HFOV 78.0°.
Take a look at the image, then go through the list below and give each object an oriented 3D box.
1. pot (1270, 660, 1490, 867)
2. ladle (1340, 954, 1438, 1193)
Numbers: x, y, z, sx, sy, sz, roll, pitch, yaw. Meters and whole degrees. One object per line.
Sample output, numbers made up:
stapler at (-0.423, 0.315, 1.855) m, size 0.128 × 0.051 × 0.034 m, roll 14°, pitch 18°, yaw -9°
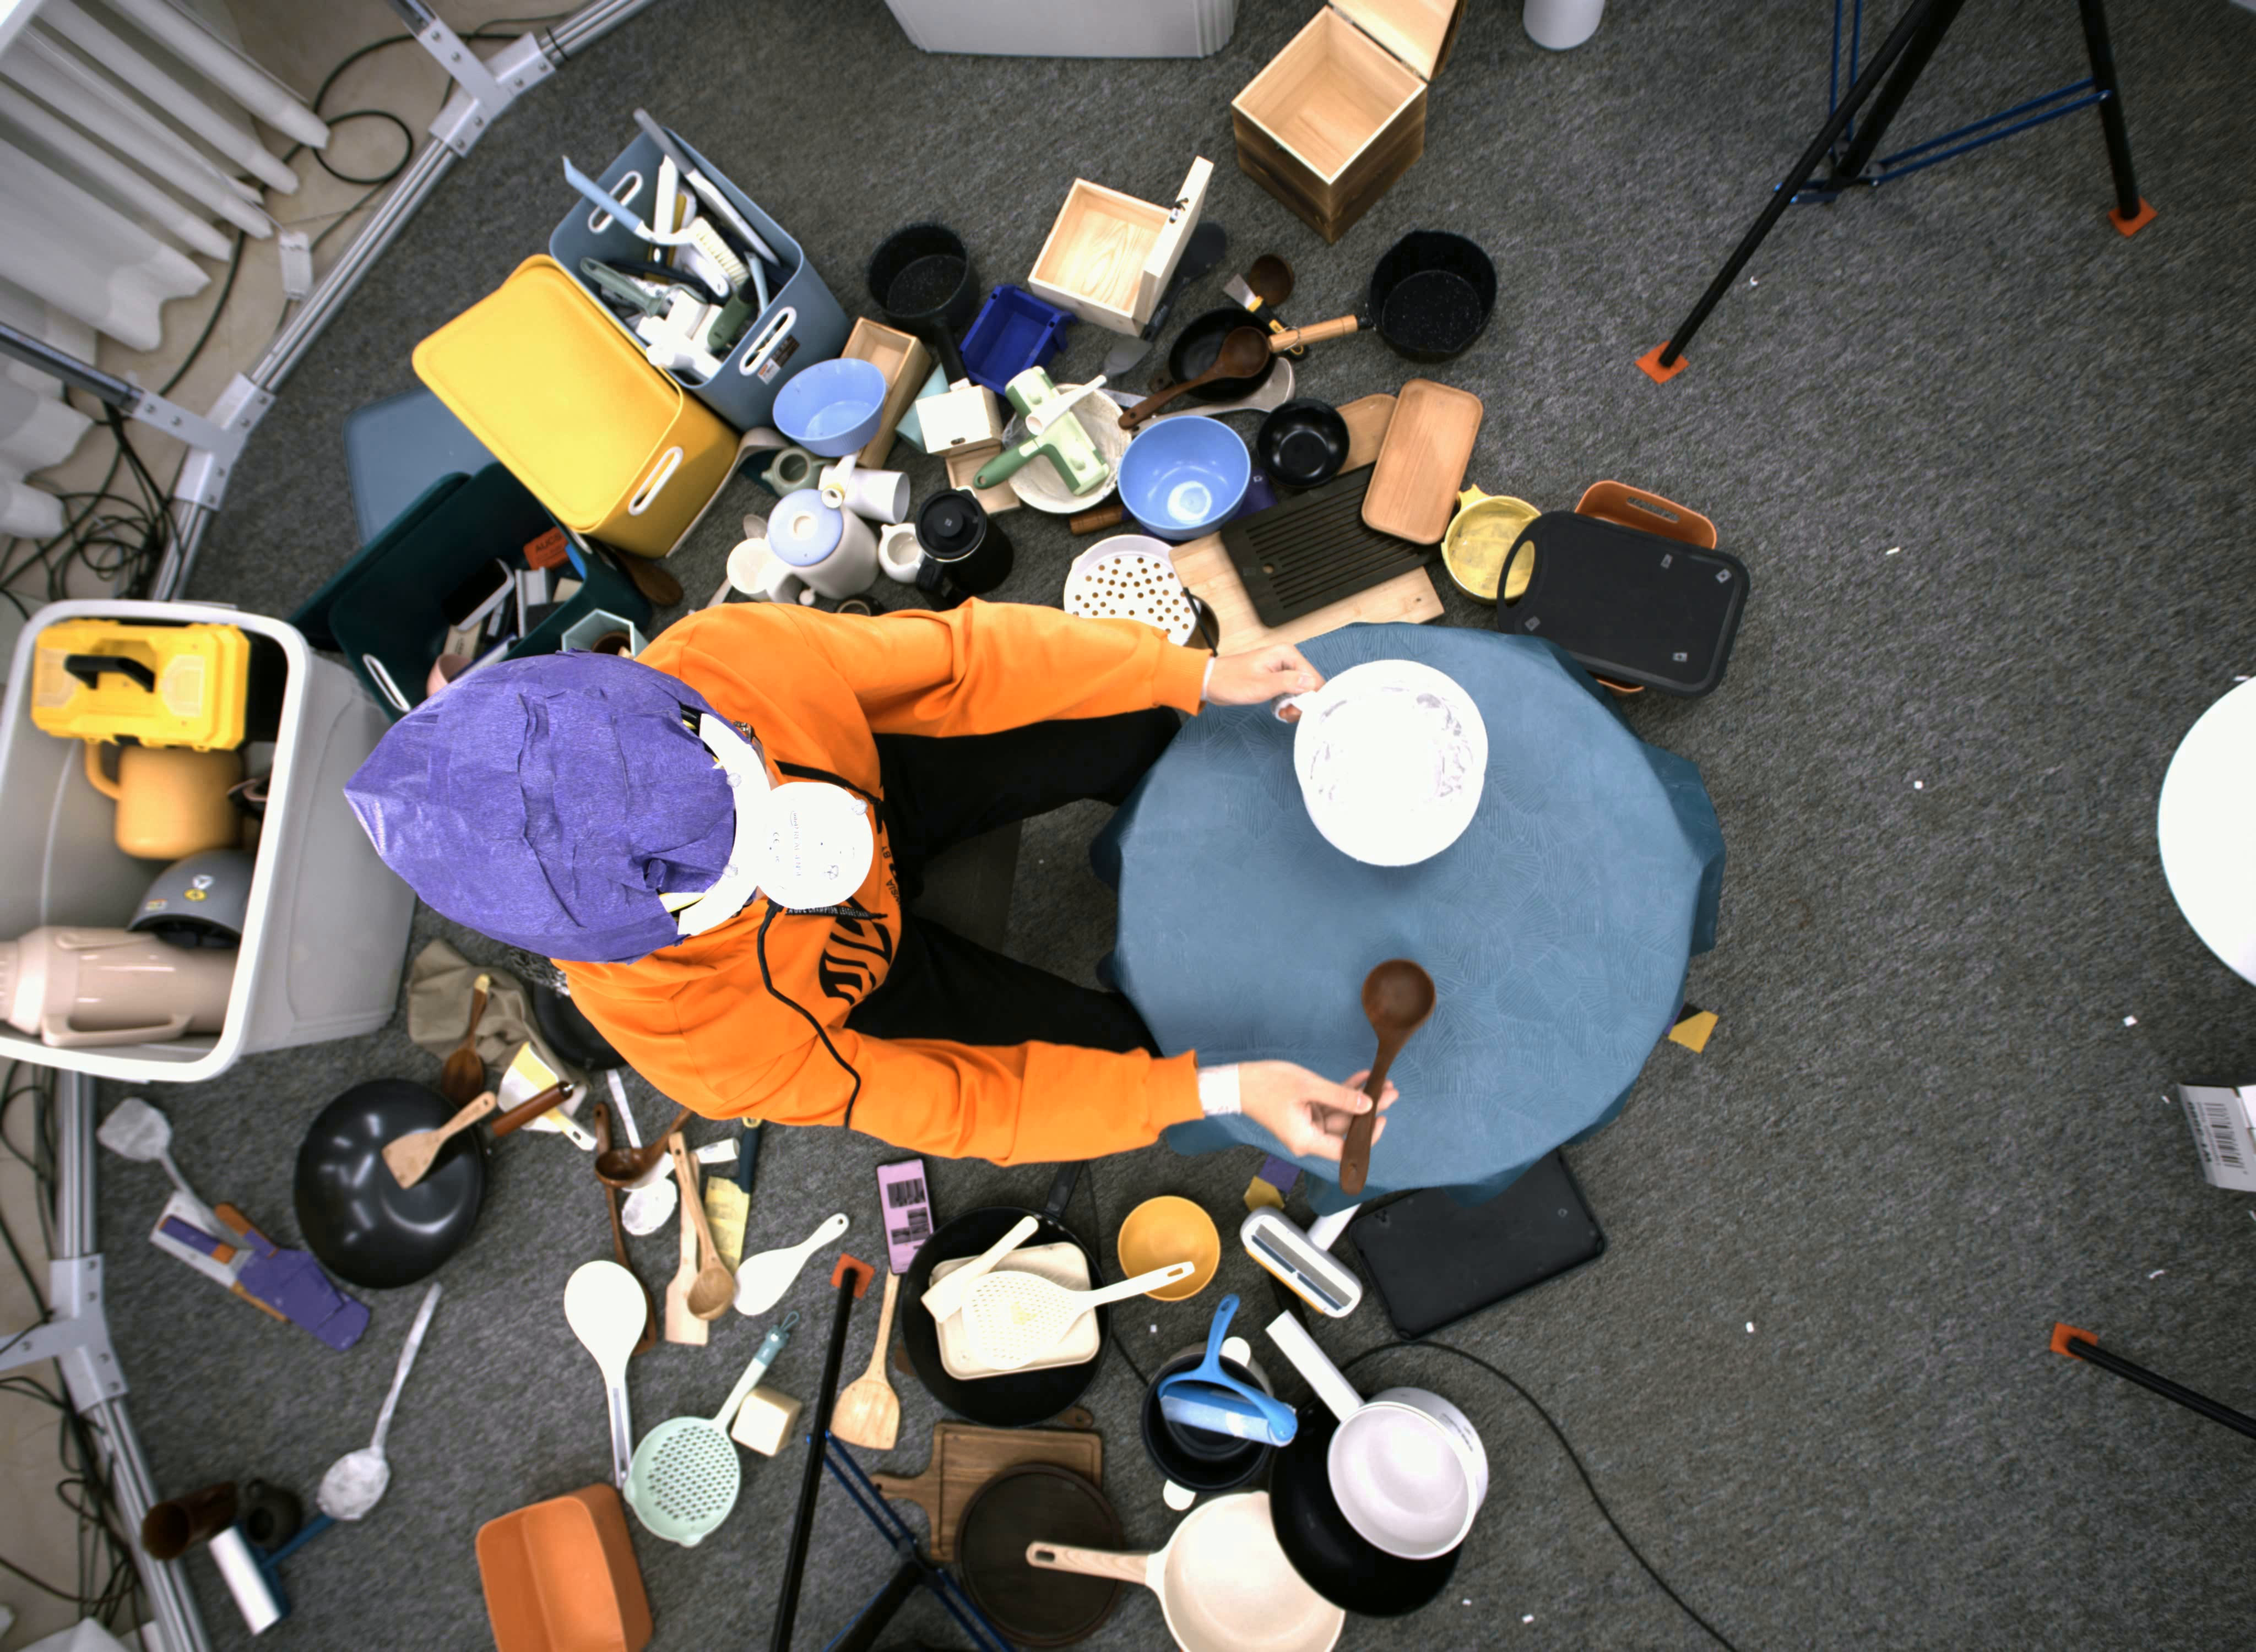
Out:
pot at (0.234, -0.072, 1.341) m, size 0.232 × 0.138 × 0.178 m, roll 37°, pitch 86°, yaw 17°
ladle at (0.238, 0.227, 1.319) m, size 0.077 × 0.253 × 0.066 m, roll -1°, pitch 129°, yaw 29°
